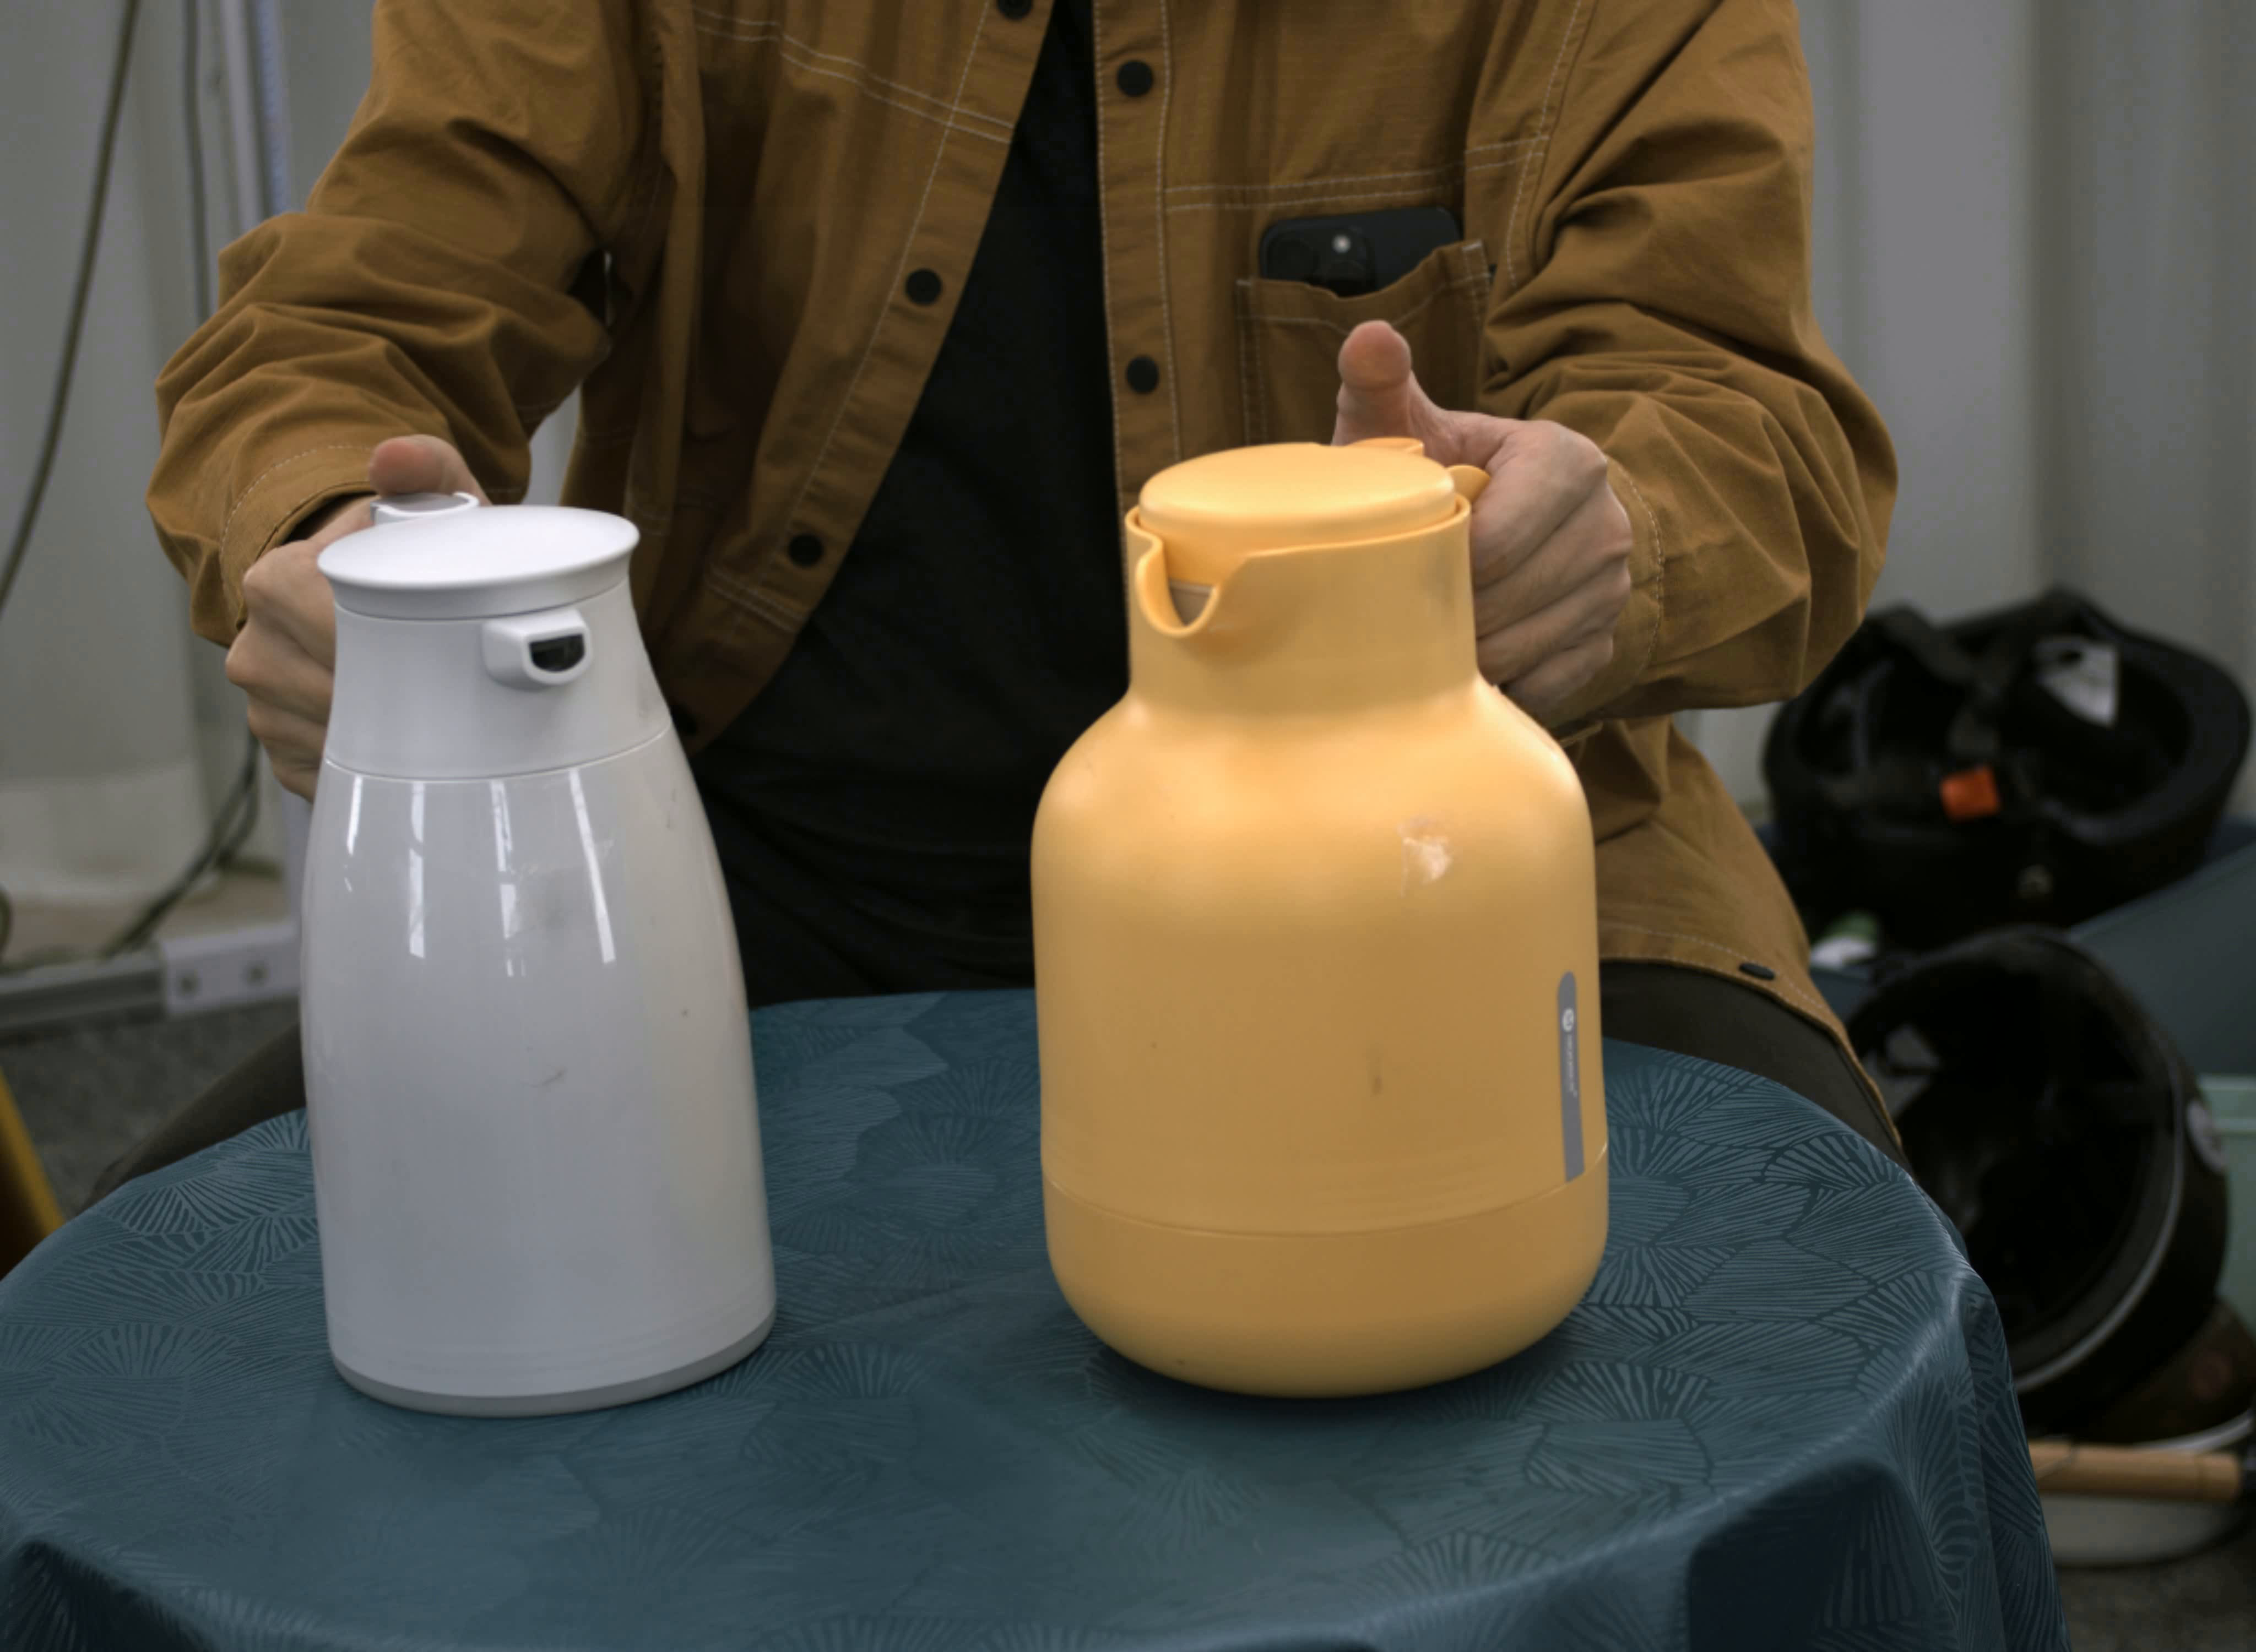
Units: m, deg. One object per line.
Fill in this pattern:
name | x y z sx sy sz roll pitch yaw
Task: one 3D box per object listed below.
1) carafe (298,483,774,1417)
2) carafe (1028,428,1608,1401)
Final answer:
carafe | -0.185 0.027 1.594 0.132 0.247 0.169 -11 16 -24
carafe | 0.063 0.017 1.566 0.164 0.259 0.202 8 19 30
